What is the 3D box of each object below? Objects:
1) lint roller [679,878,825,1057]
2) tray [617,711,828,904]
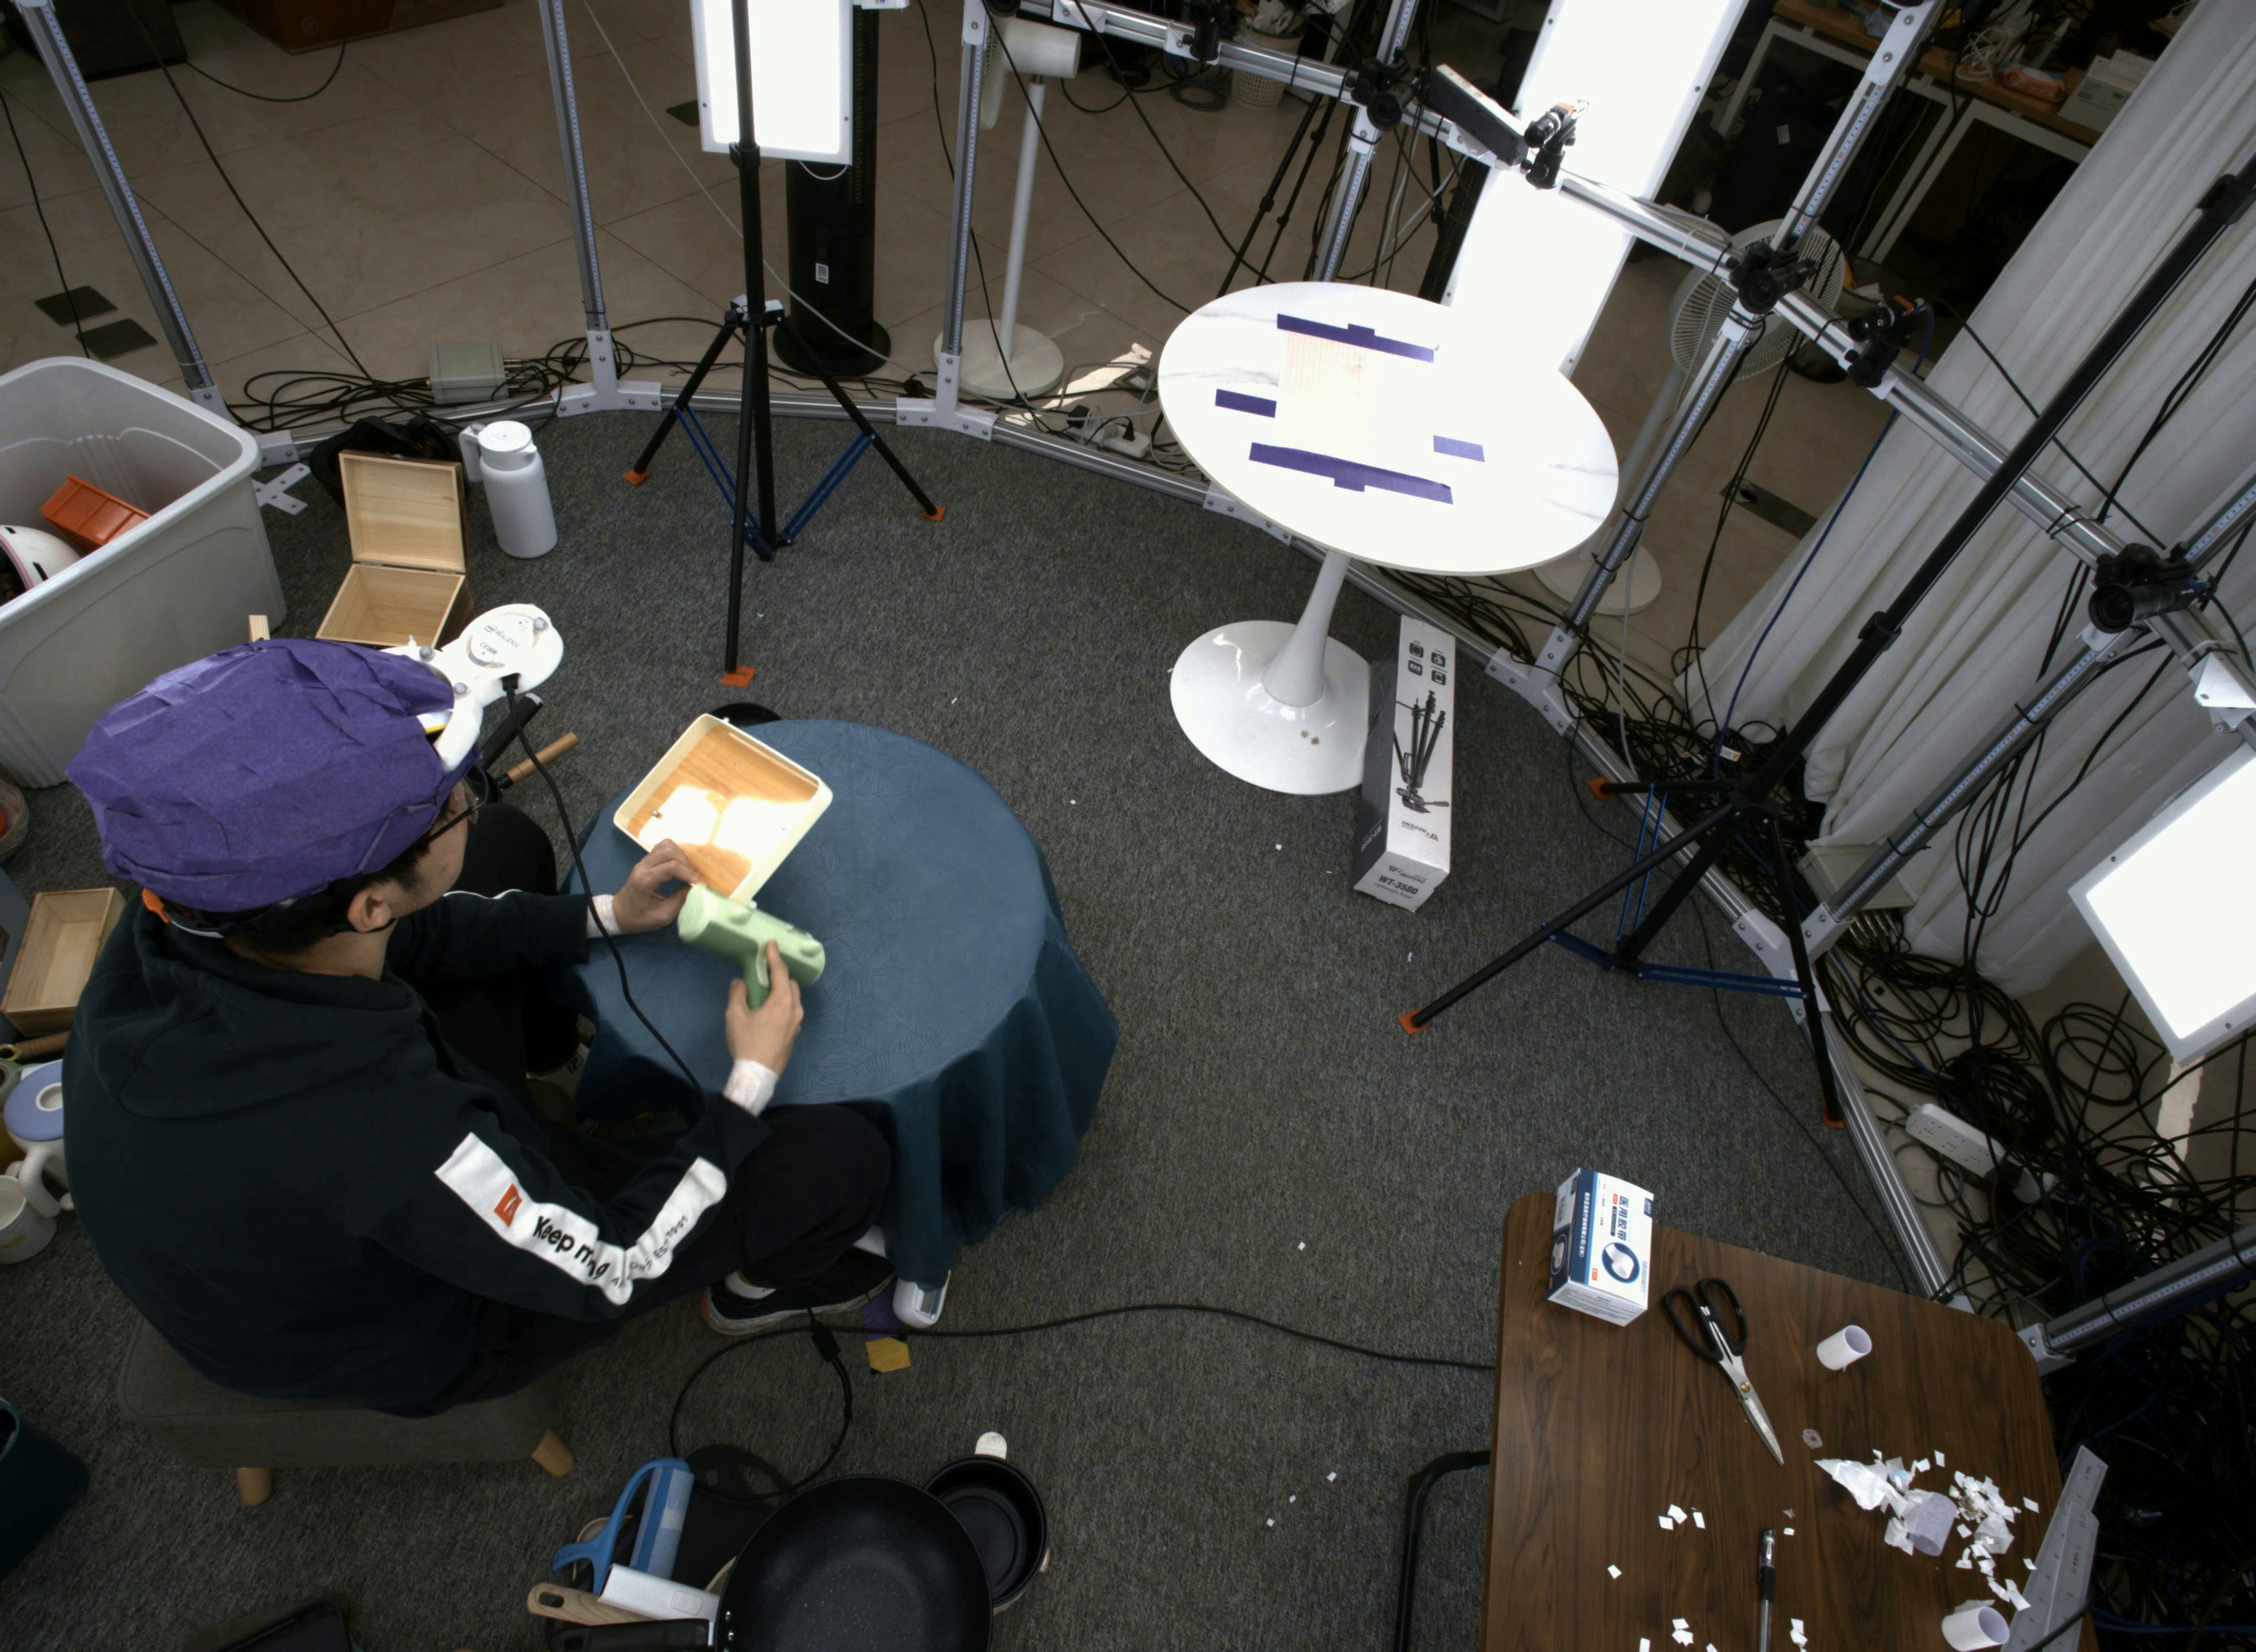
[{"bbox_3d":[-0.406,0.162,1.455,0.081,0.205,0.178,-31,55,14],"label":"lint roller"},{"bbox_3d":[-0.508,-0.025,1.593,0.289,0.028,0.192,26,75,38],"label":"tray"}]
